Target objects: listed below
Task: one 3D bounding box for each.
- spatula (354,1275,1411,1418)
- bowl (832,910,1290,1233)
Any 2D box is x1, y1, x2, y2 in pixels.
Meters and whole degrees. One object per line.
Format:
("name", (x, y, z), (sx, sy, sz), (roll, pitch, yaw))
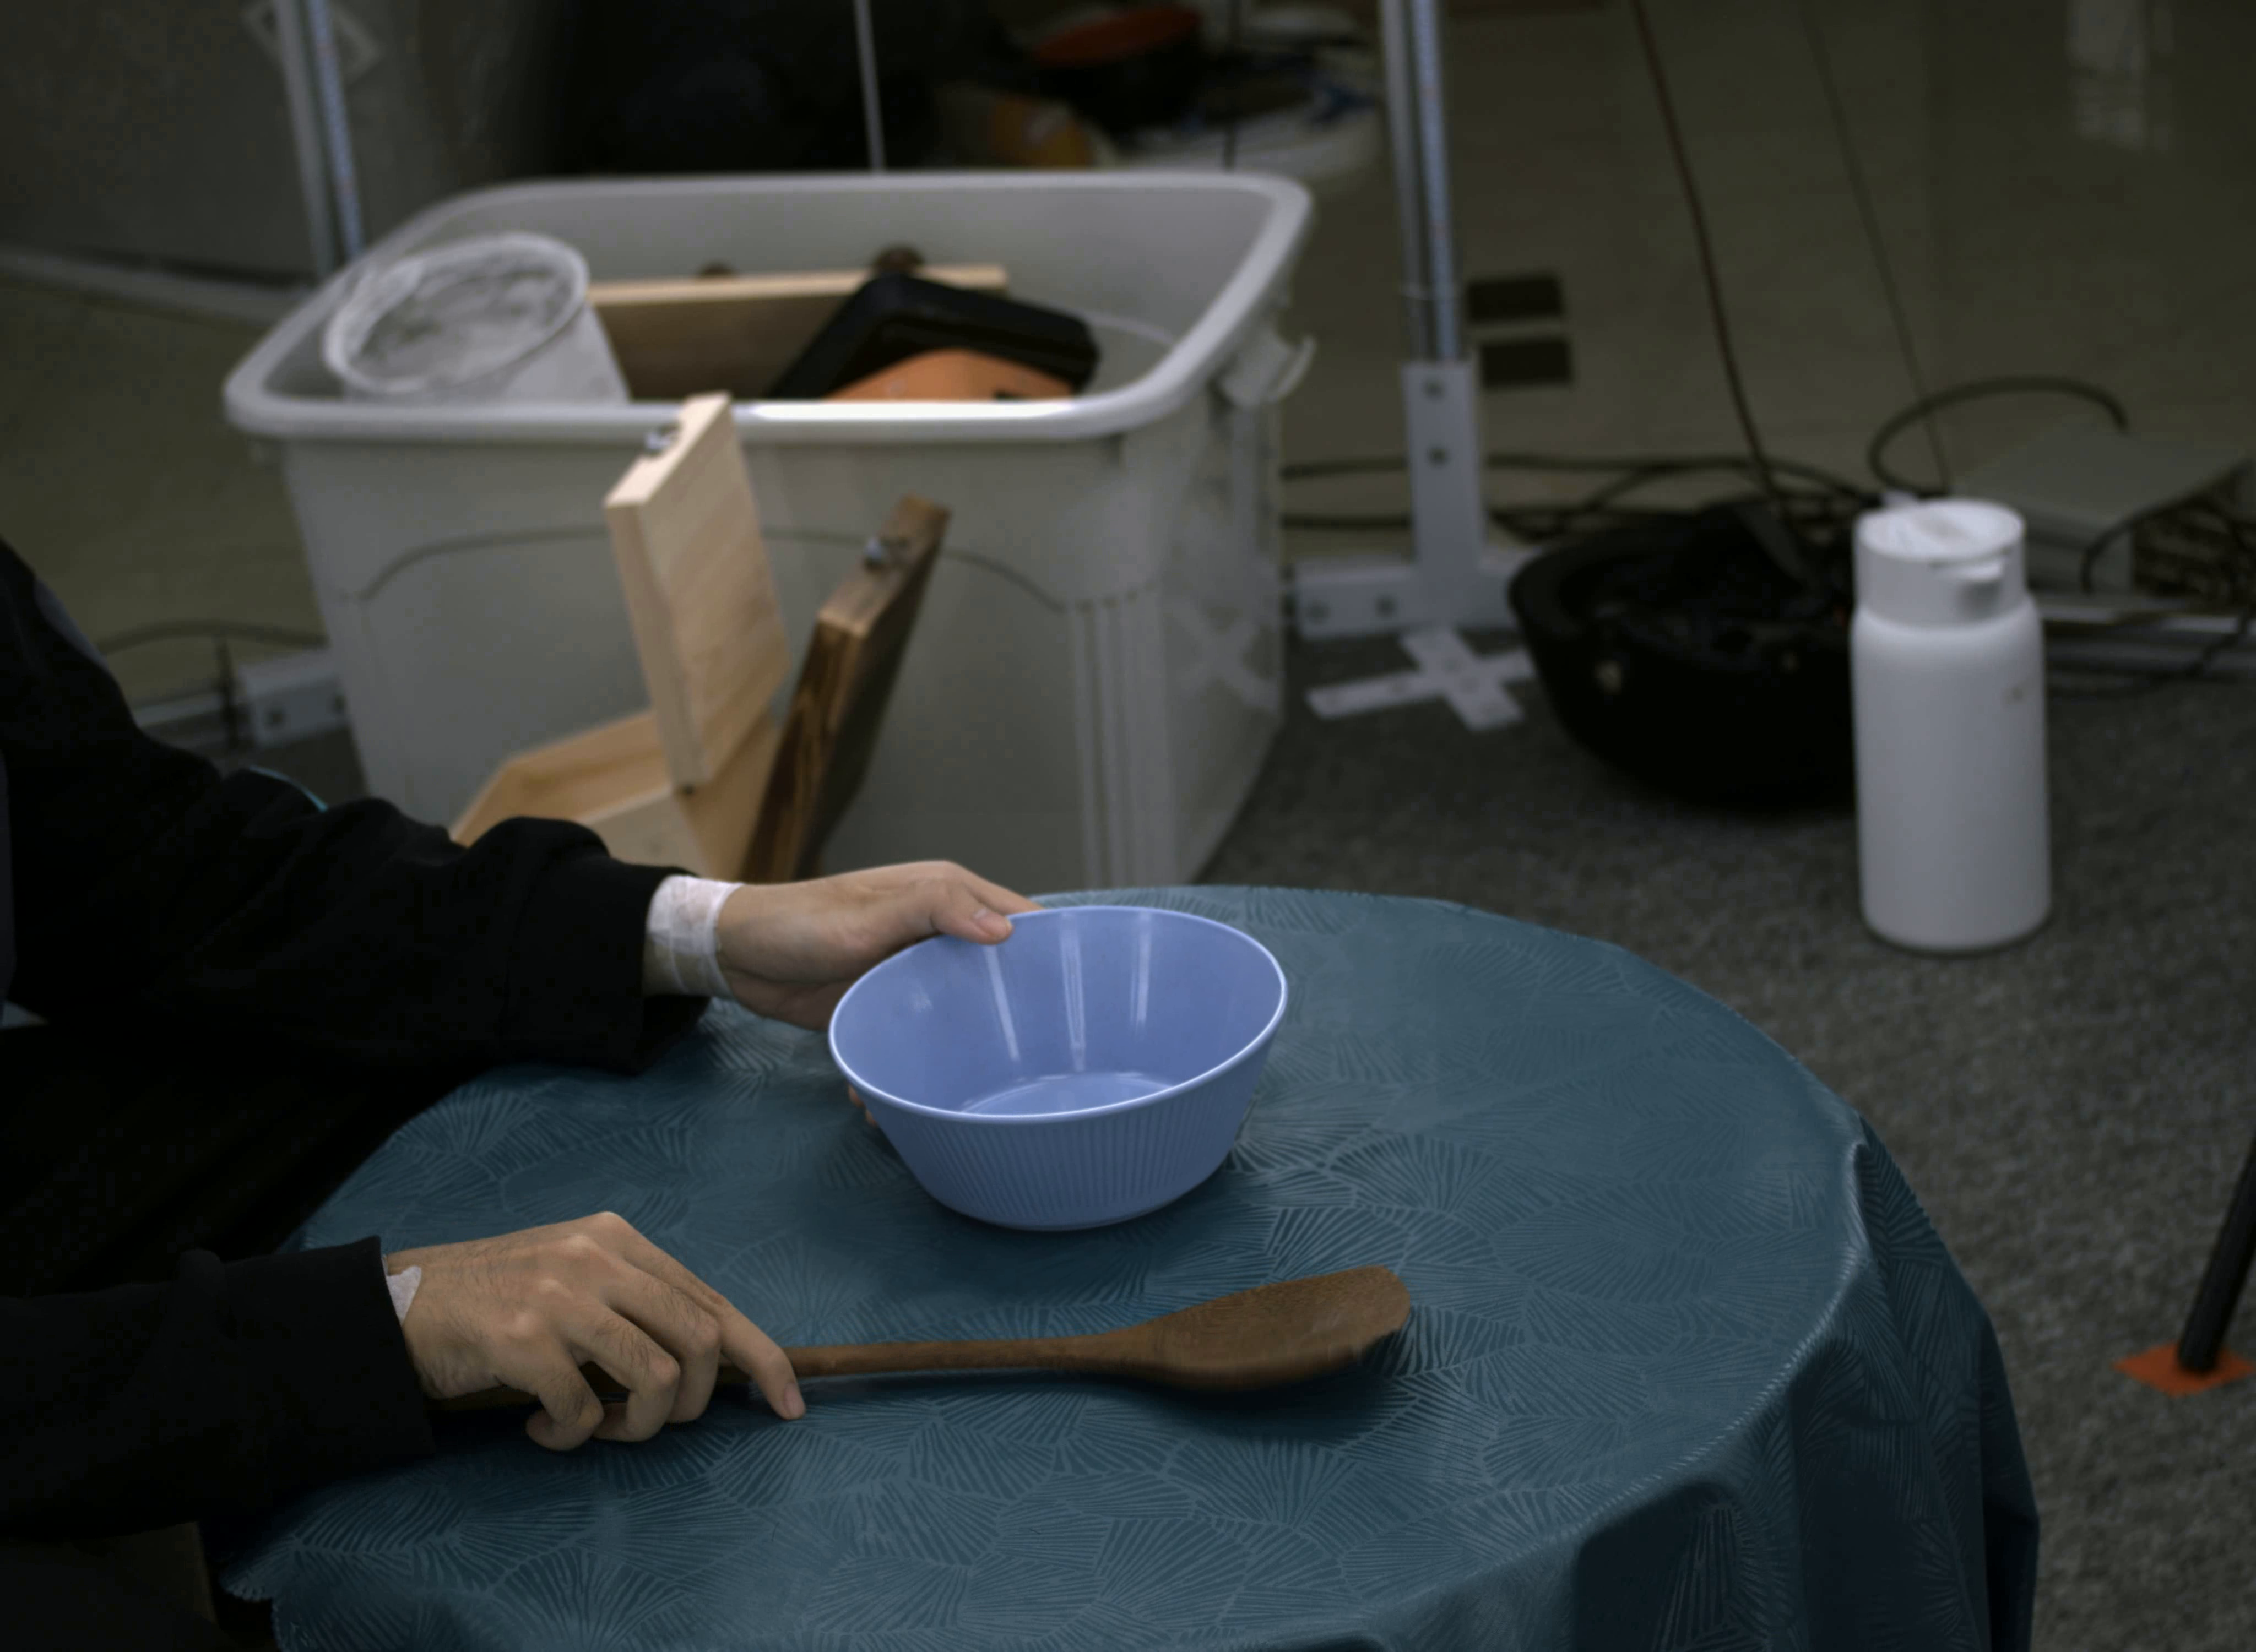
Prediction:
("spatula", (-0.090, 0.190, 2.035), (0.385, 0.016, 0.095), (-5, 11, 7))
("bowl", (-0.022, 0.099, 2.160), (0.176, 0.071, 0.173), (-6, 25, 3))
